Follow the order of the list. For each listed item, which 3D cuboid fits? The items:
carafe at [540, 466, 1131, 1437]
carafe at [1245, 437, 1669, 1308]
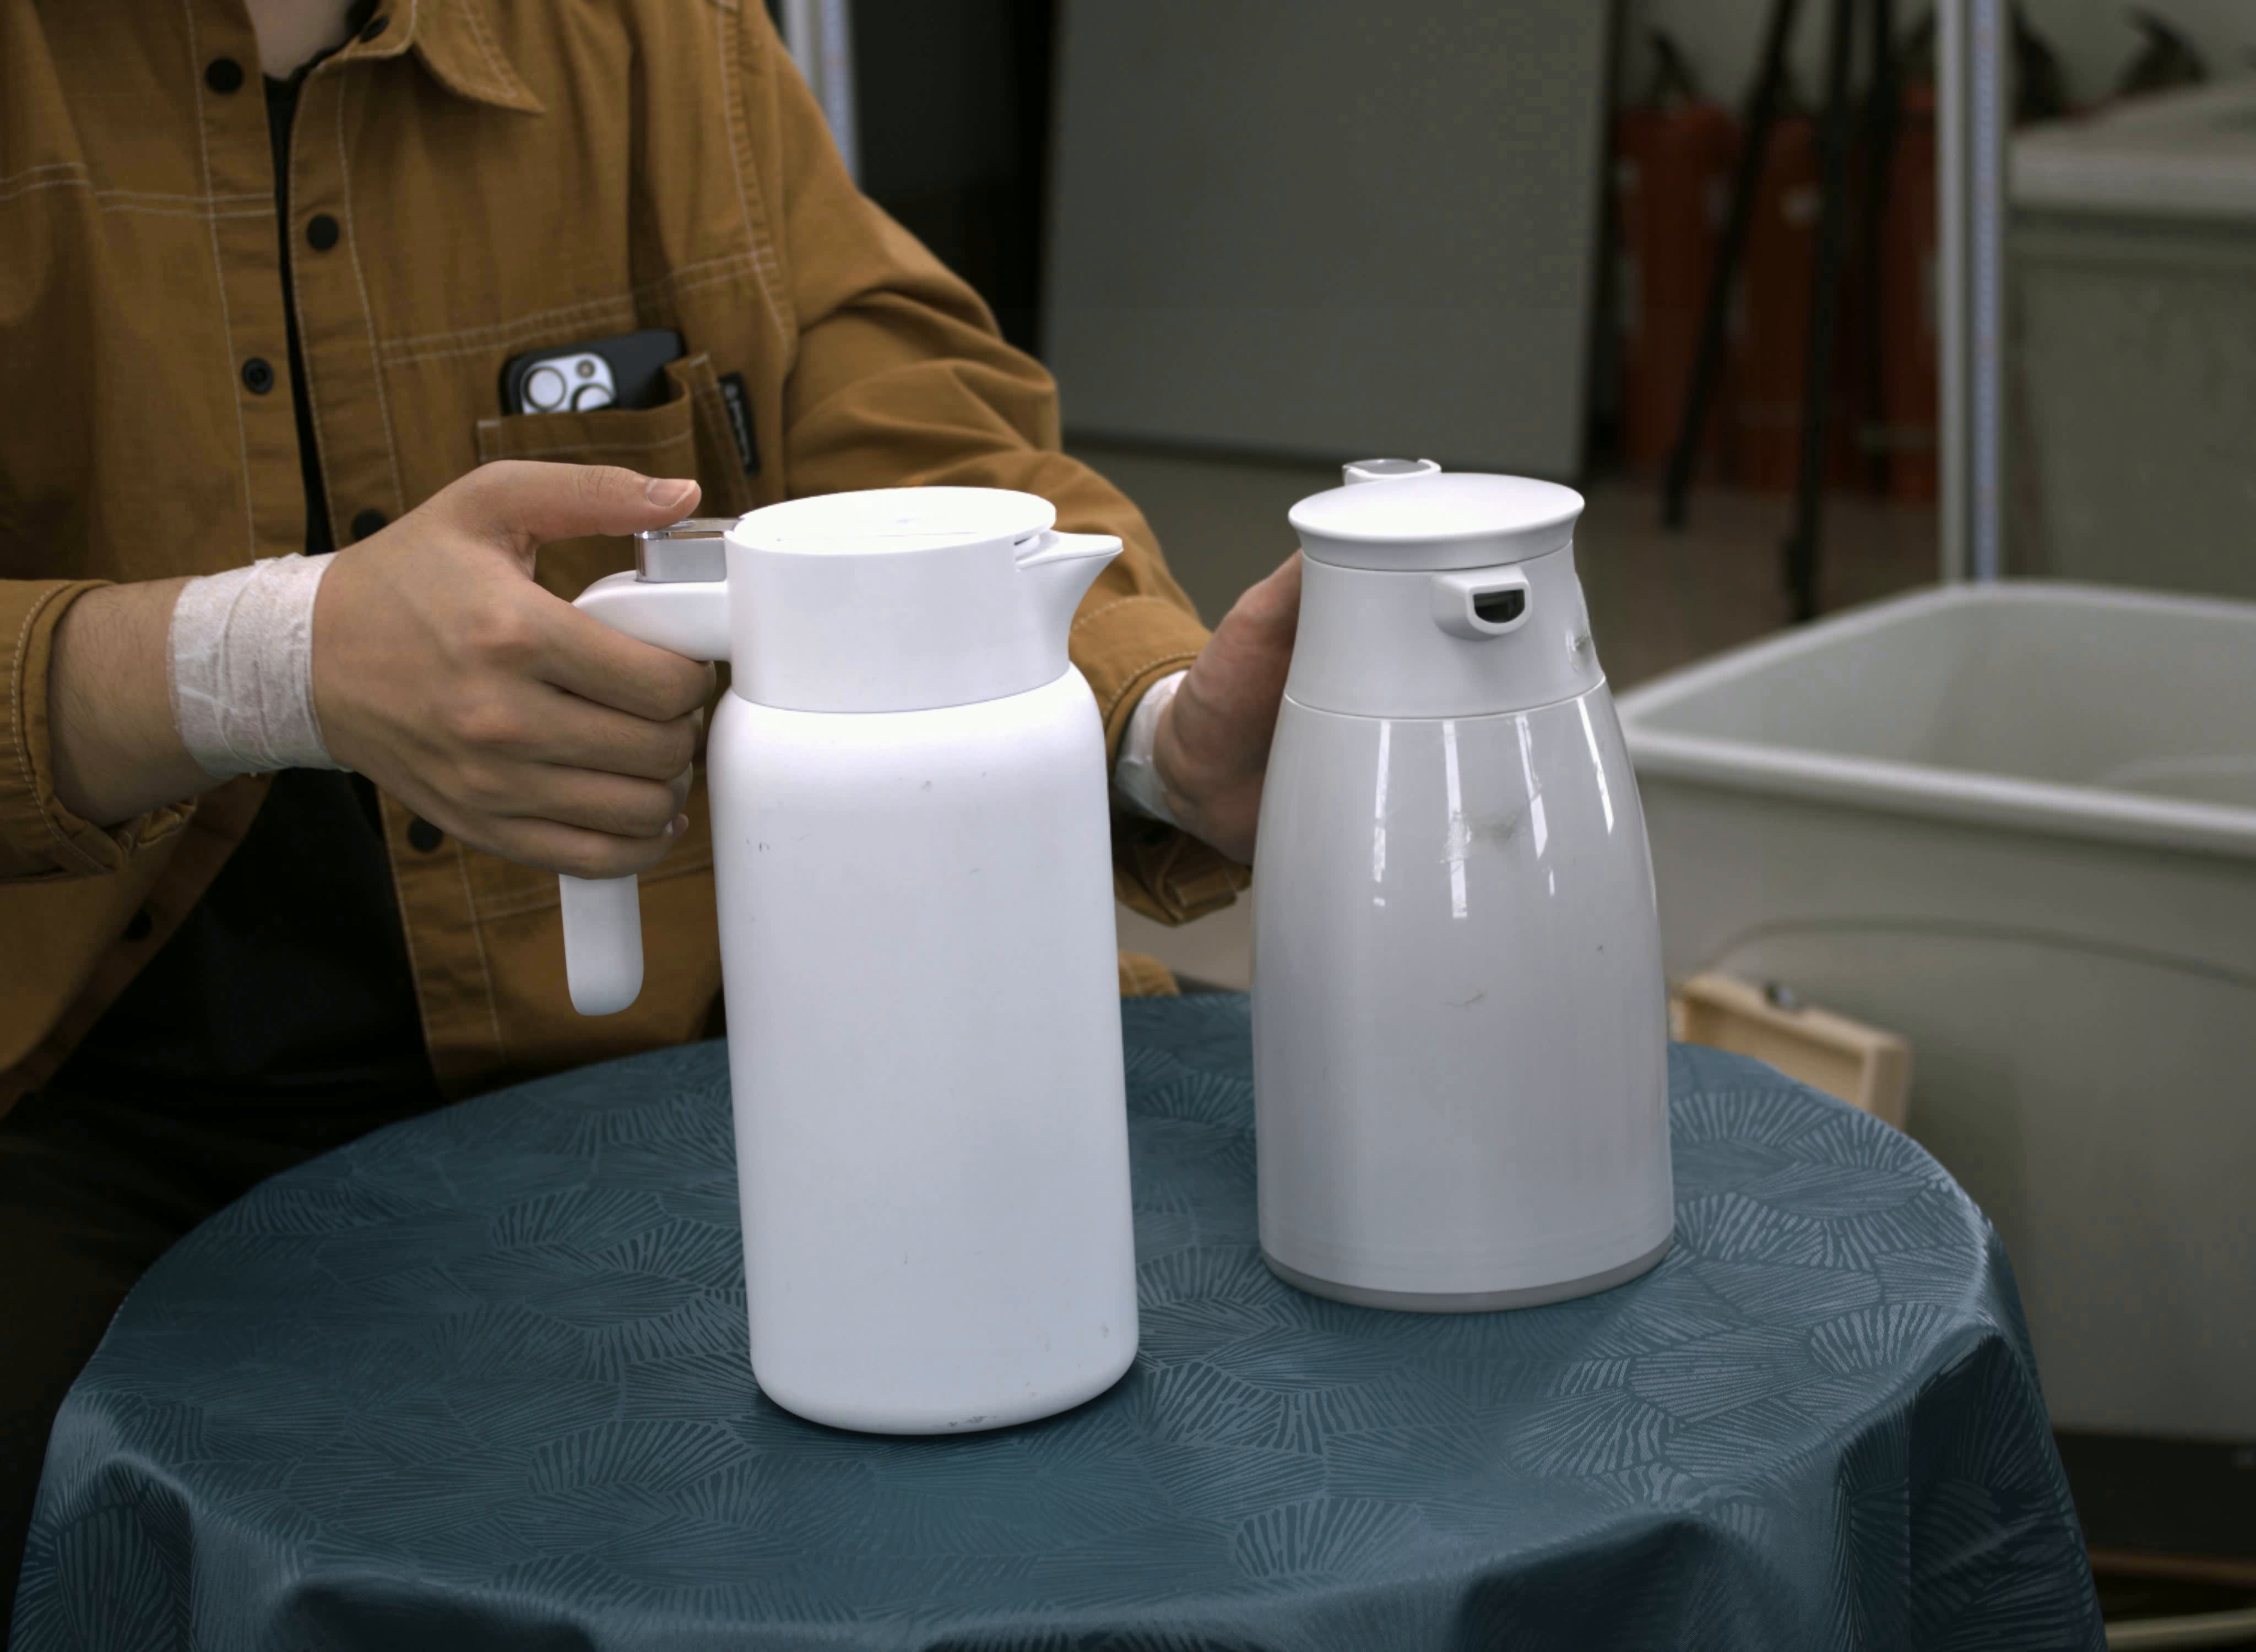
[{"bbox_3d":[-0.080,0.036,1.581,0.171,0.272,0.123,-2,15,9],"label":"carafe"},{"bbox_3d":[0.093,0.007,1.687,0.130,0.251,0.169,-7,13,-13],"label":"carafe"}]
